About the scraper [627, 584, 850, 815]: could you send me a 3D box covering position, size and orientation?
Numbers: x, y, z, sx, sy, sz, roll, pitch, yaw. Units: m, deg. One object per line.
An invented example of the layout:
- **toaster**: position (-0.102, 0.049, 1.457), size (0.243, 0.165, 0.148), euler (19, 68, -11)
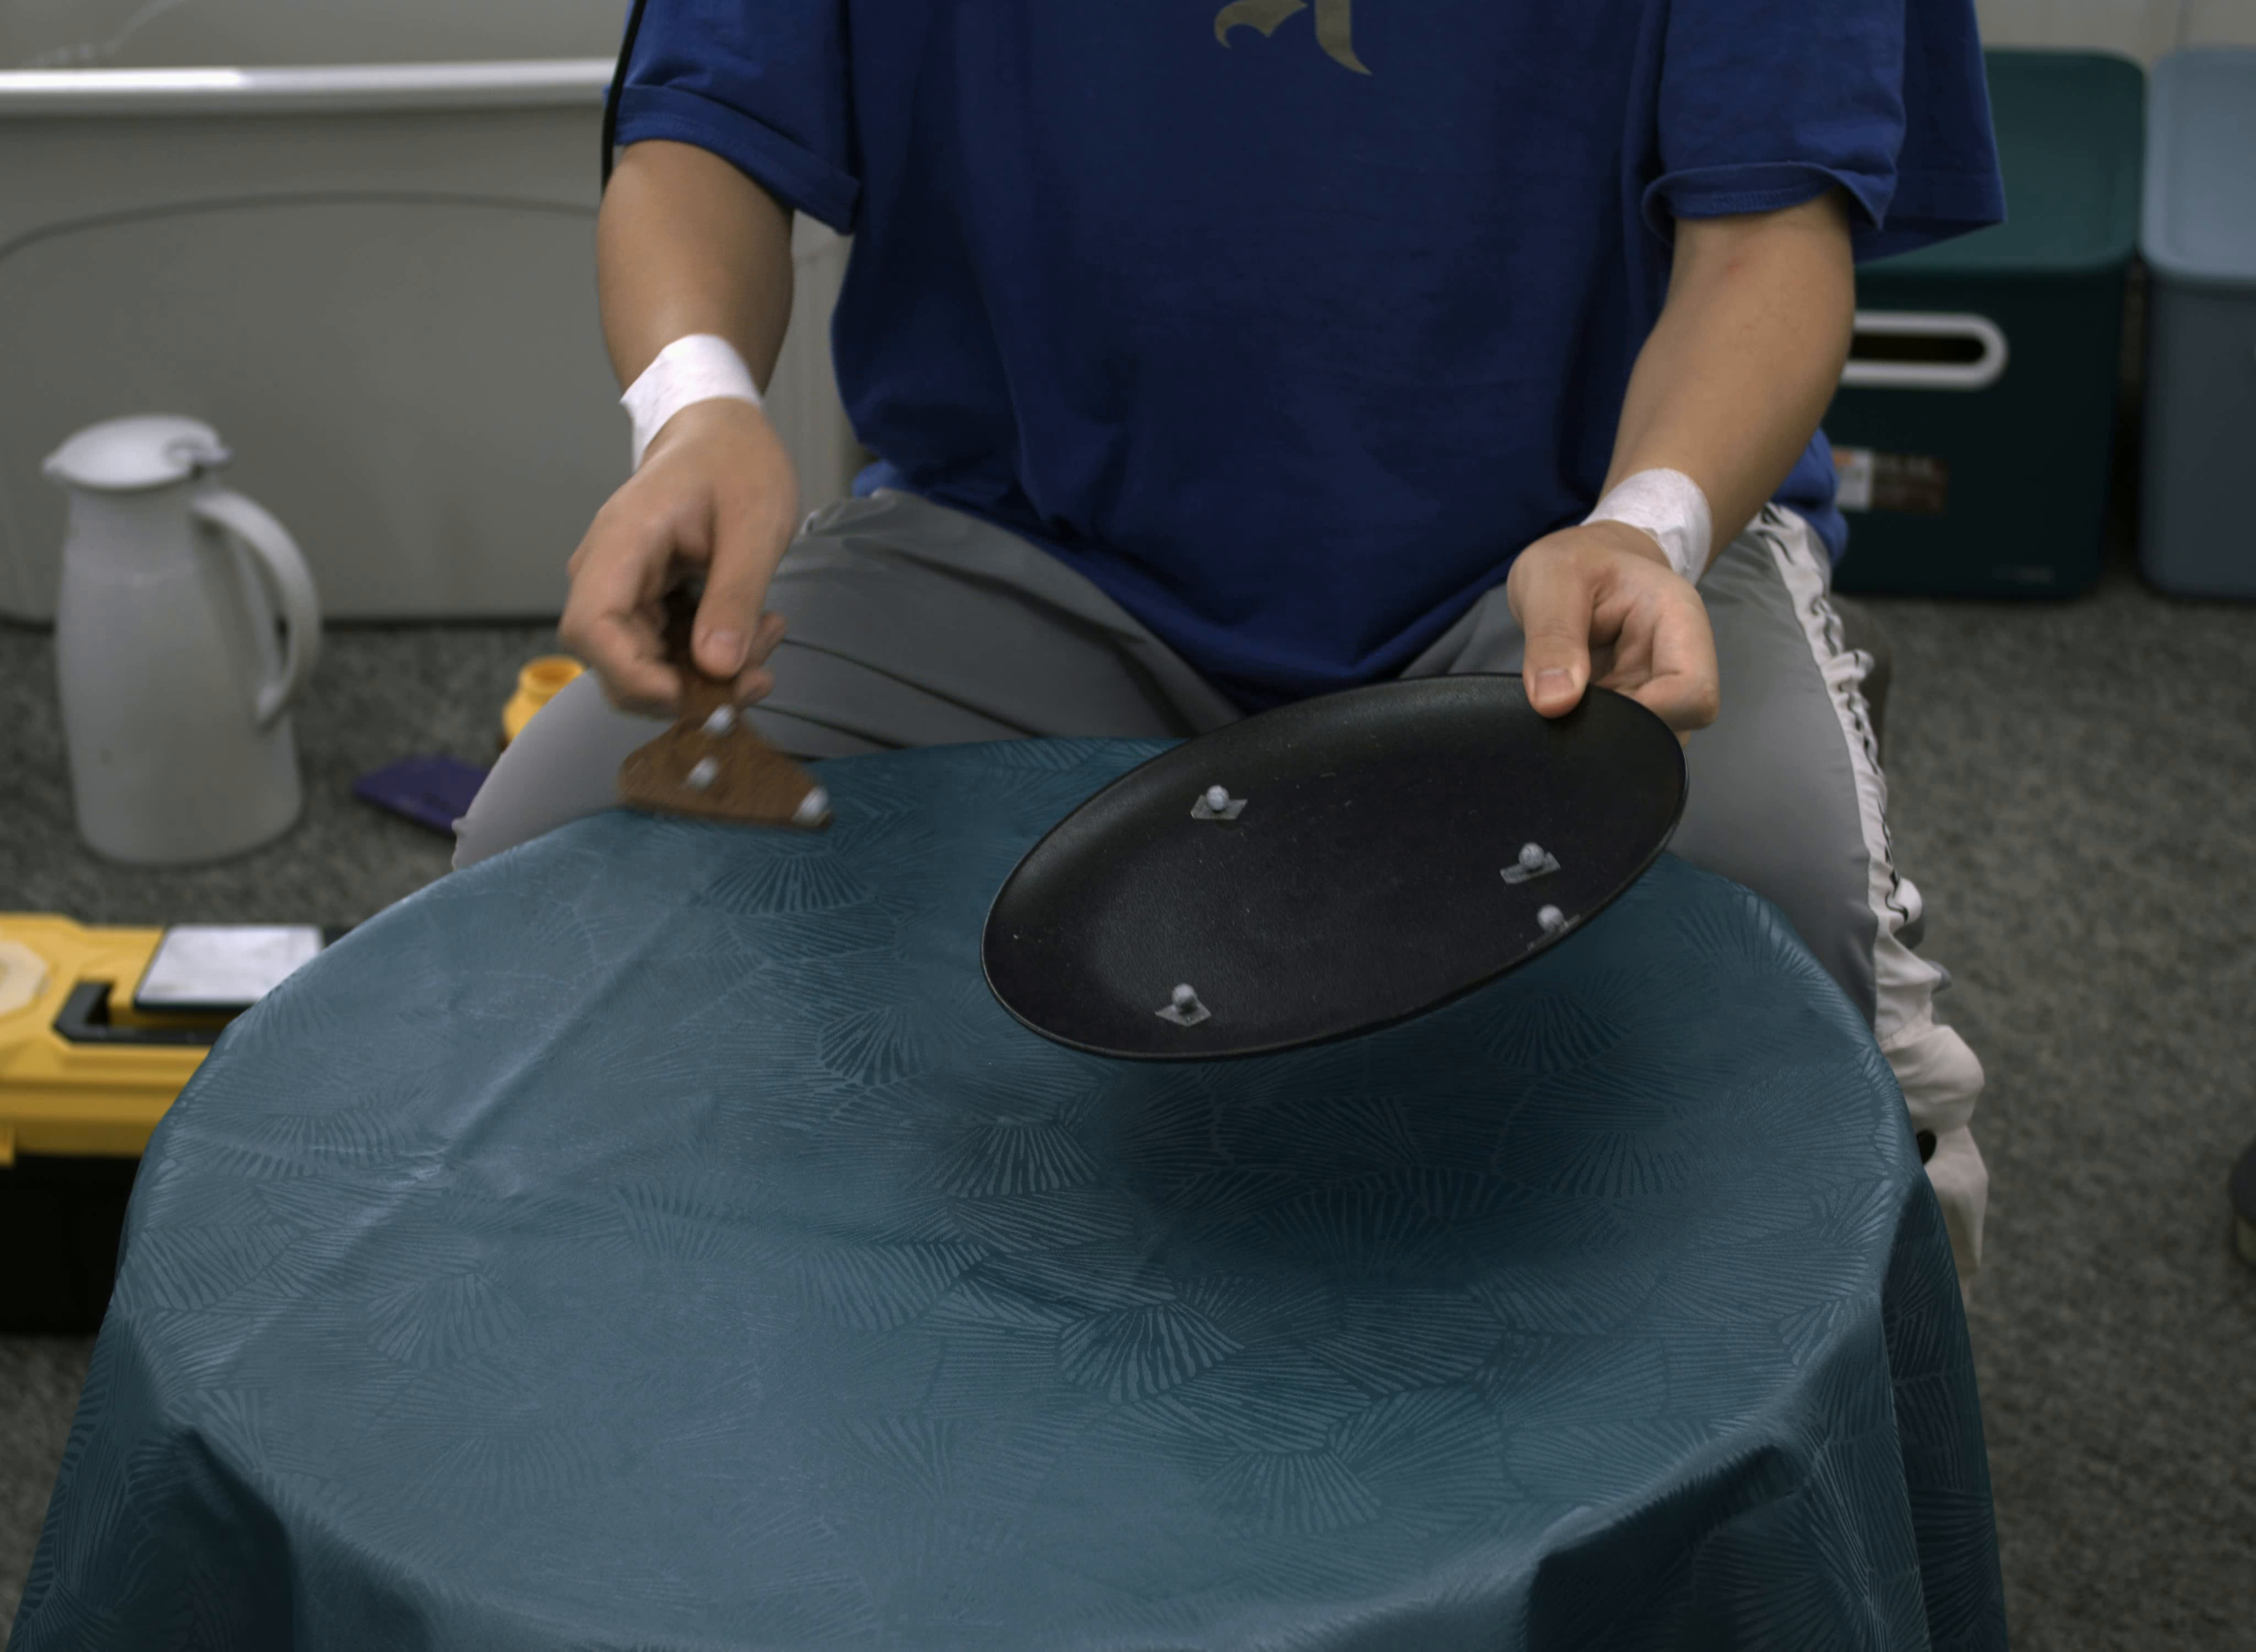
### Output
- **scraper**: position (-0.142, -0.045, 1.970), size (0.075, 0.011, 0.213), euler (8, 21, -11)

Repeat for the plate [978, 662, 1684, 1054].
- **plate**: position (0.068, 0.015, 1.863), size (0.243, 0.023, 0.248), euler (-15, 25, 7)
